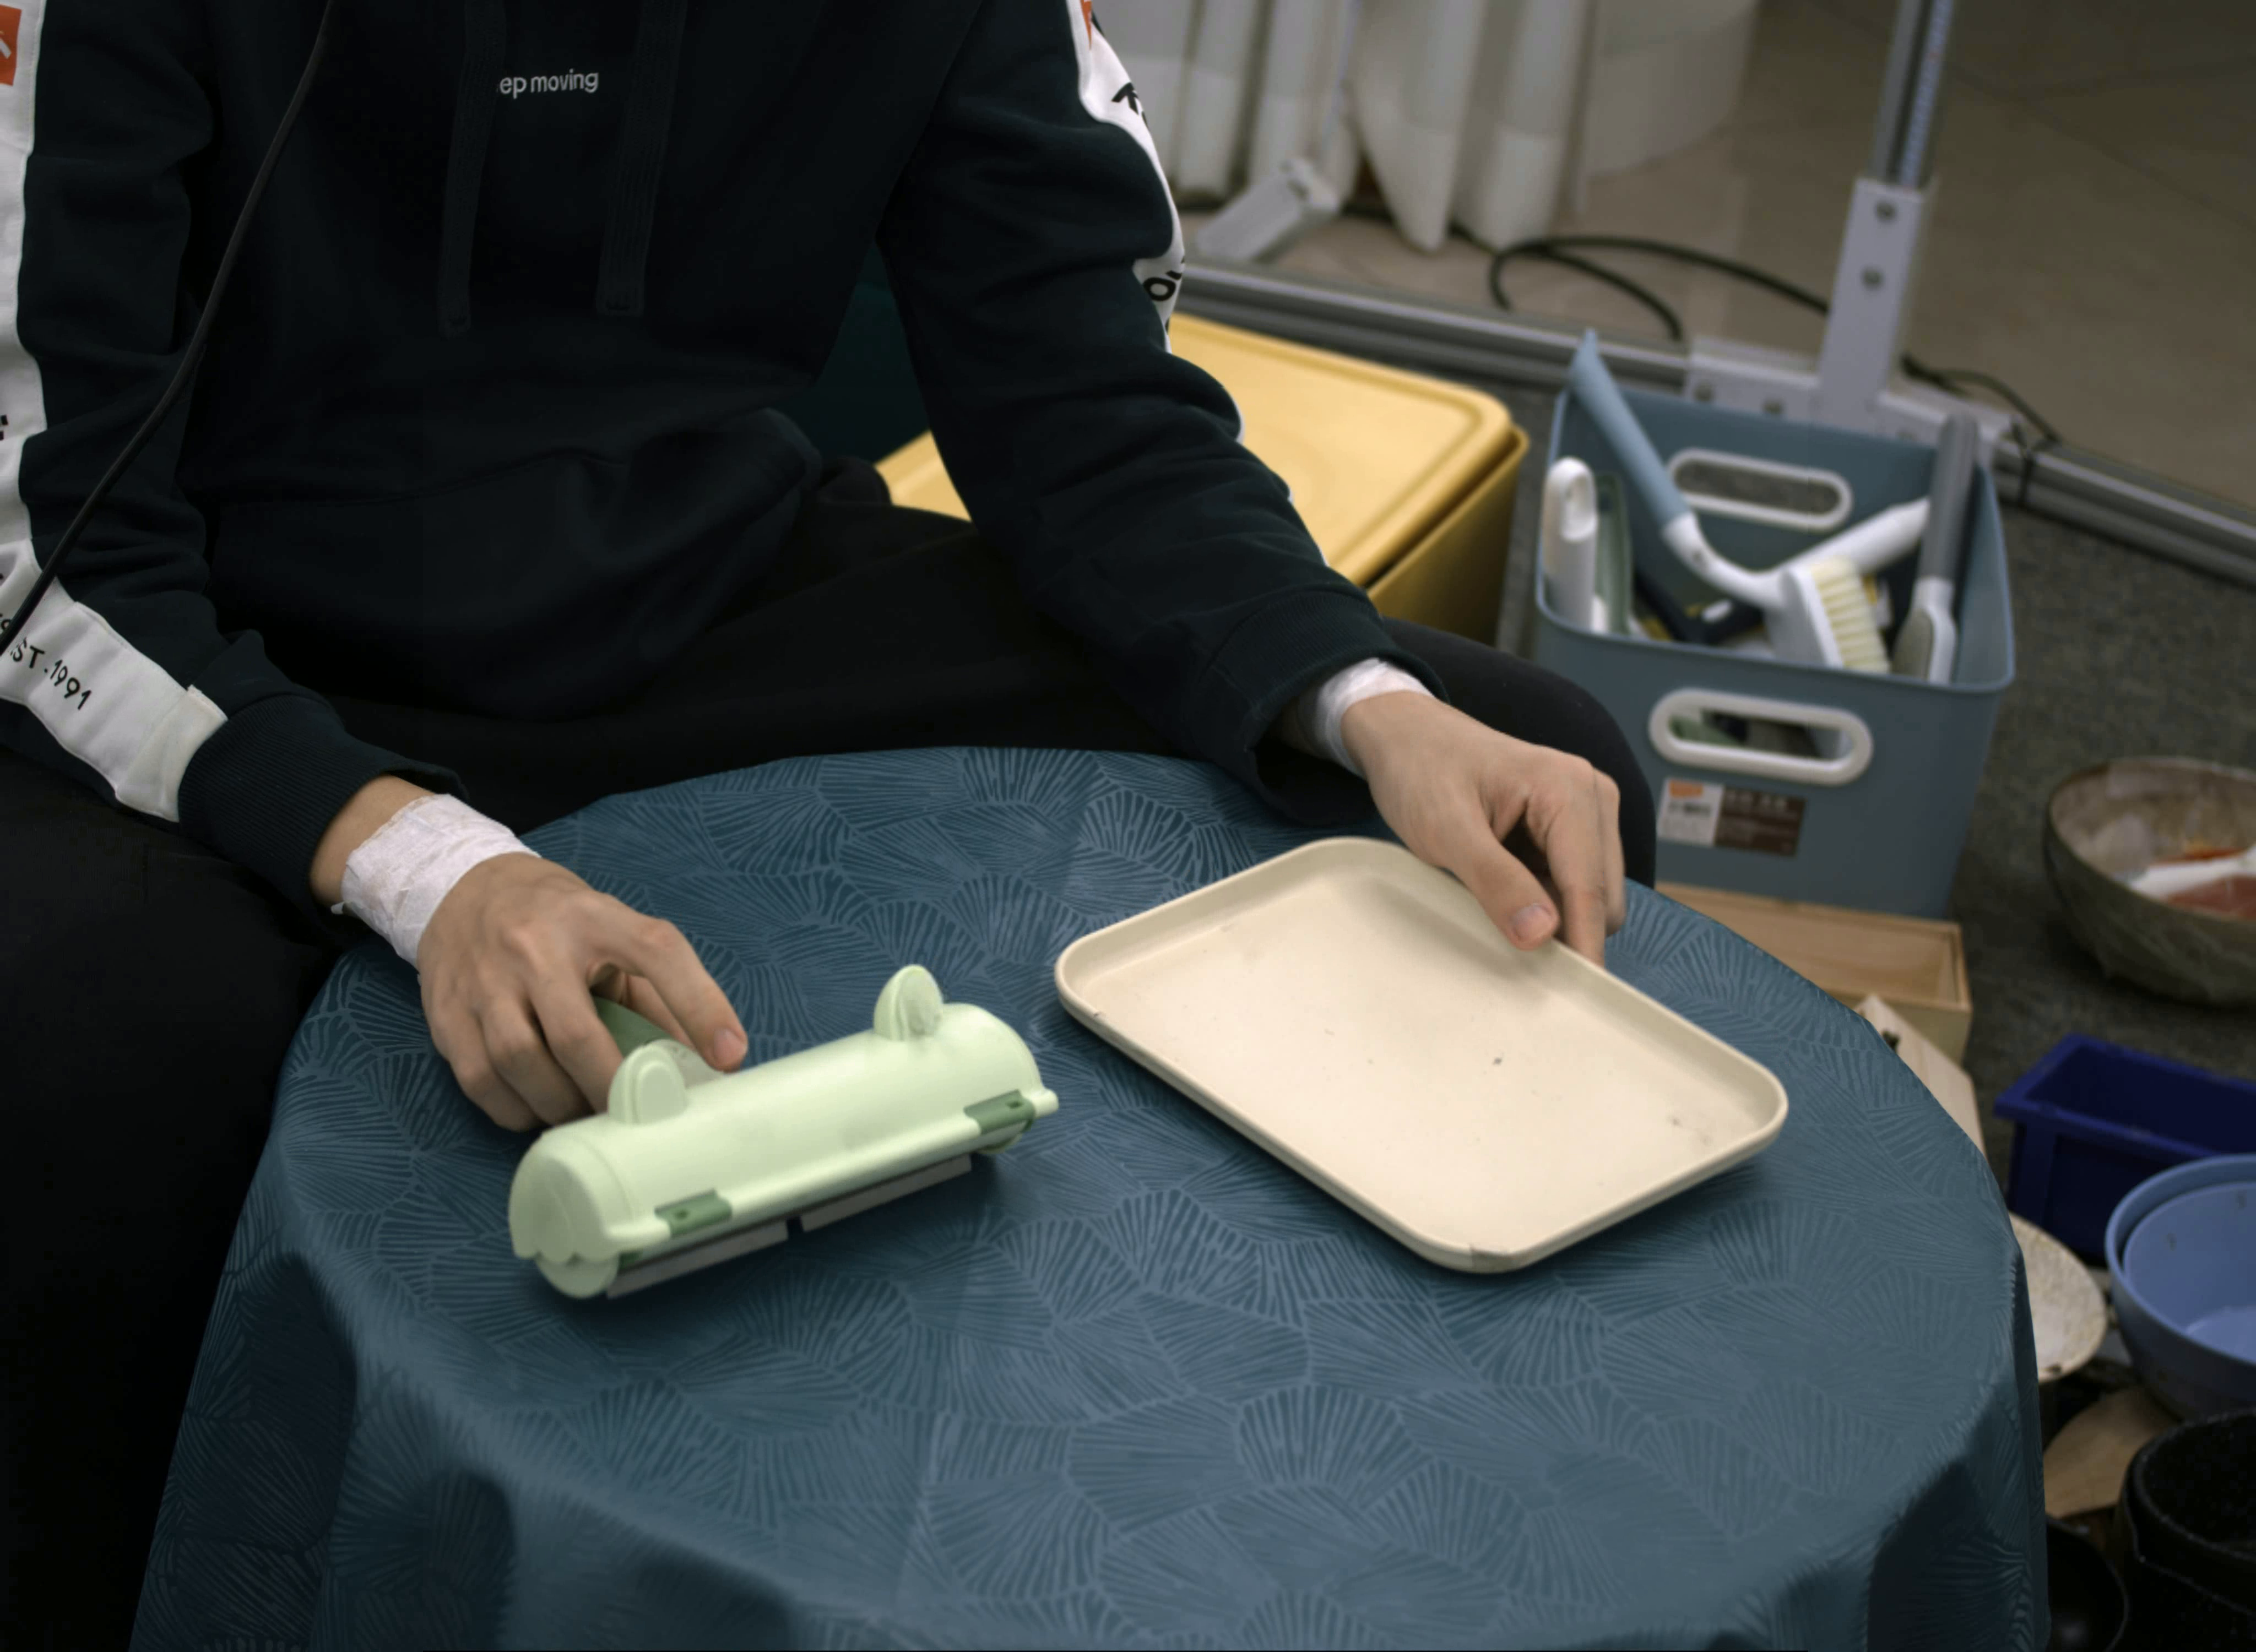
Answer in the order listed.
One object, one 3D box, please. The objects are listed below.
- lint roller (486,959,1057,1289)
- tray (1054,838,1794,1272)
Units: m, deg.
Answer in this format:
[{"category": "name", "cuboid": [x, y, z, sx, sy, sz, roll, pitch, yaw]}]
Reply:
[{"category": "lint roller", "cuboid": [-0.150, 0.073, 1.770, 0.197, 0.082, 0.185, -15, 37, -42]}, {"category": "tray", "cuboid": [0.102, 0.079, 1.874, 0.170, 0.017, 0.241, -22, 38, -35]}]
